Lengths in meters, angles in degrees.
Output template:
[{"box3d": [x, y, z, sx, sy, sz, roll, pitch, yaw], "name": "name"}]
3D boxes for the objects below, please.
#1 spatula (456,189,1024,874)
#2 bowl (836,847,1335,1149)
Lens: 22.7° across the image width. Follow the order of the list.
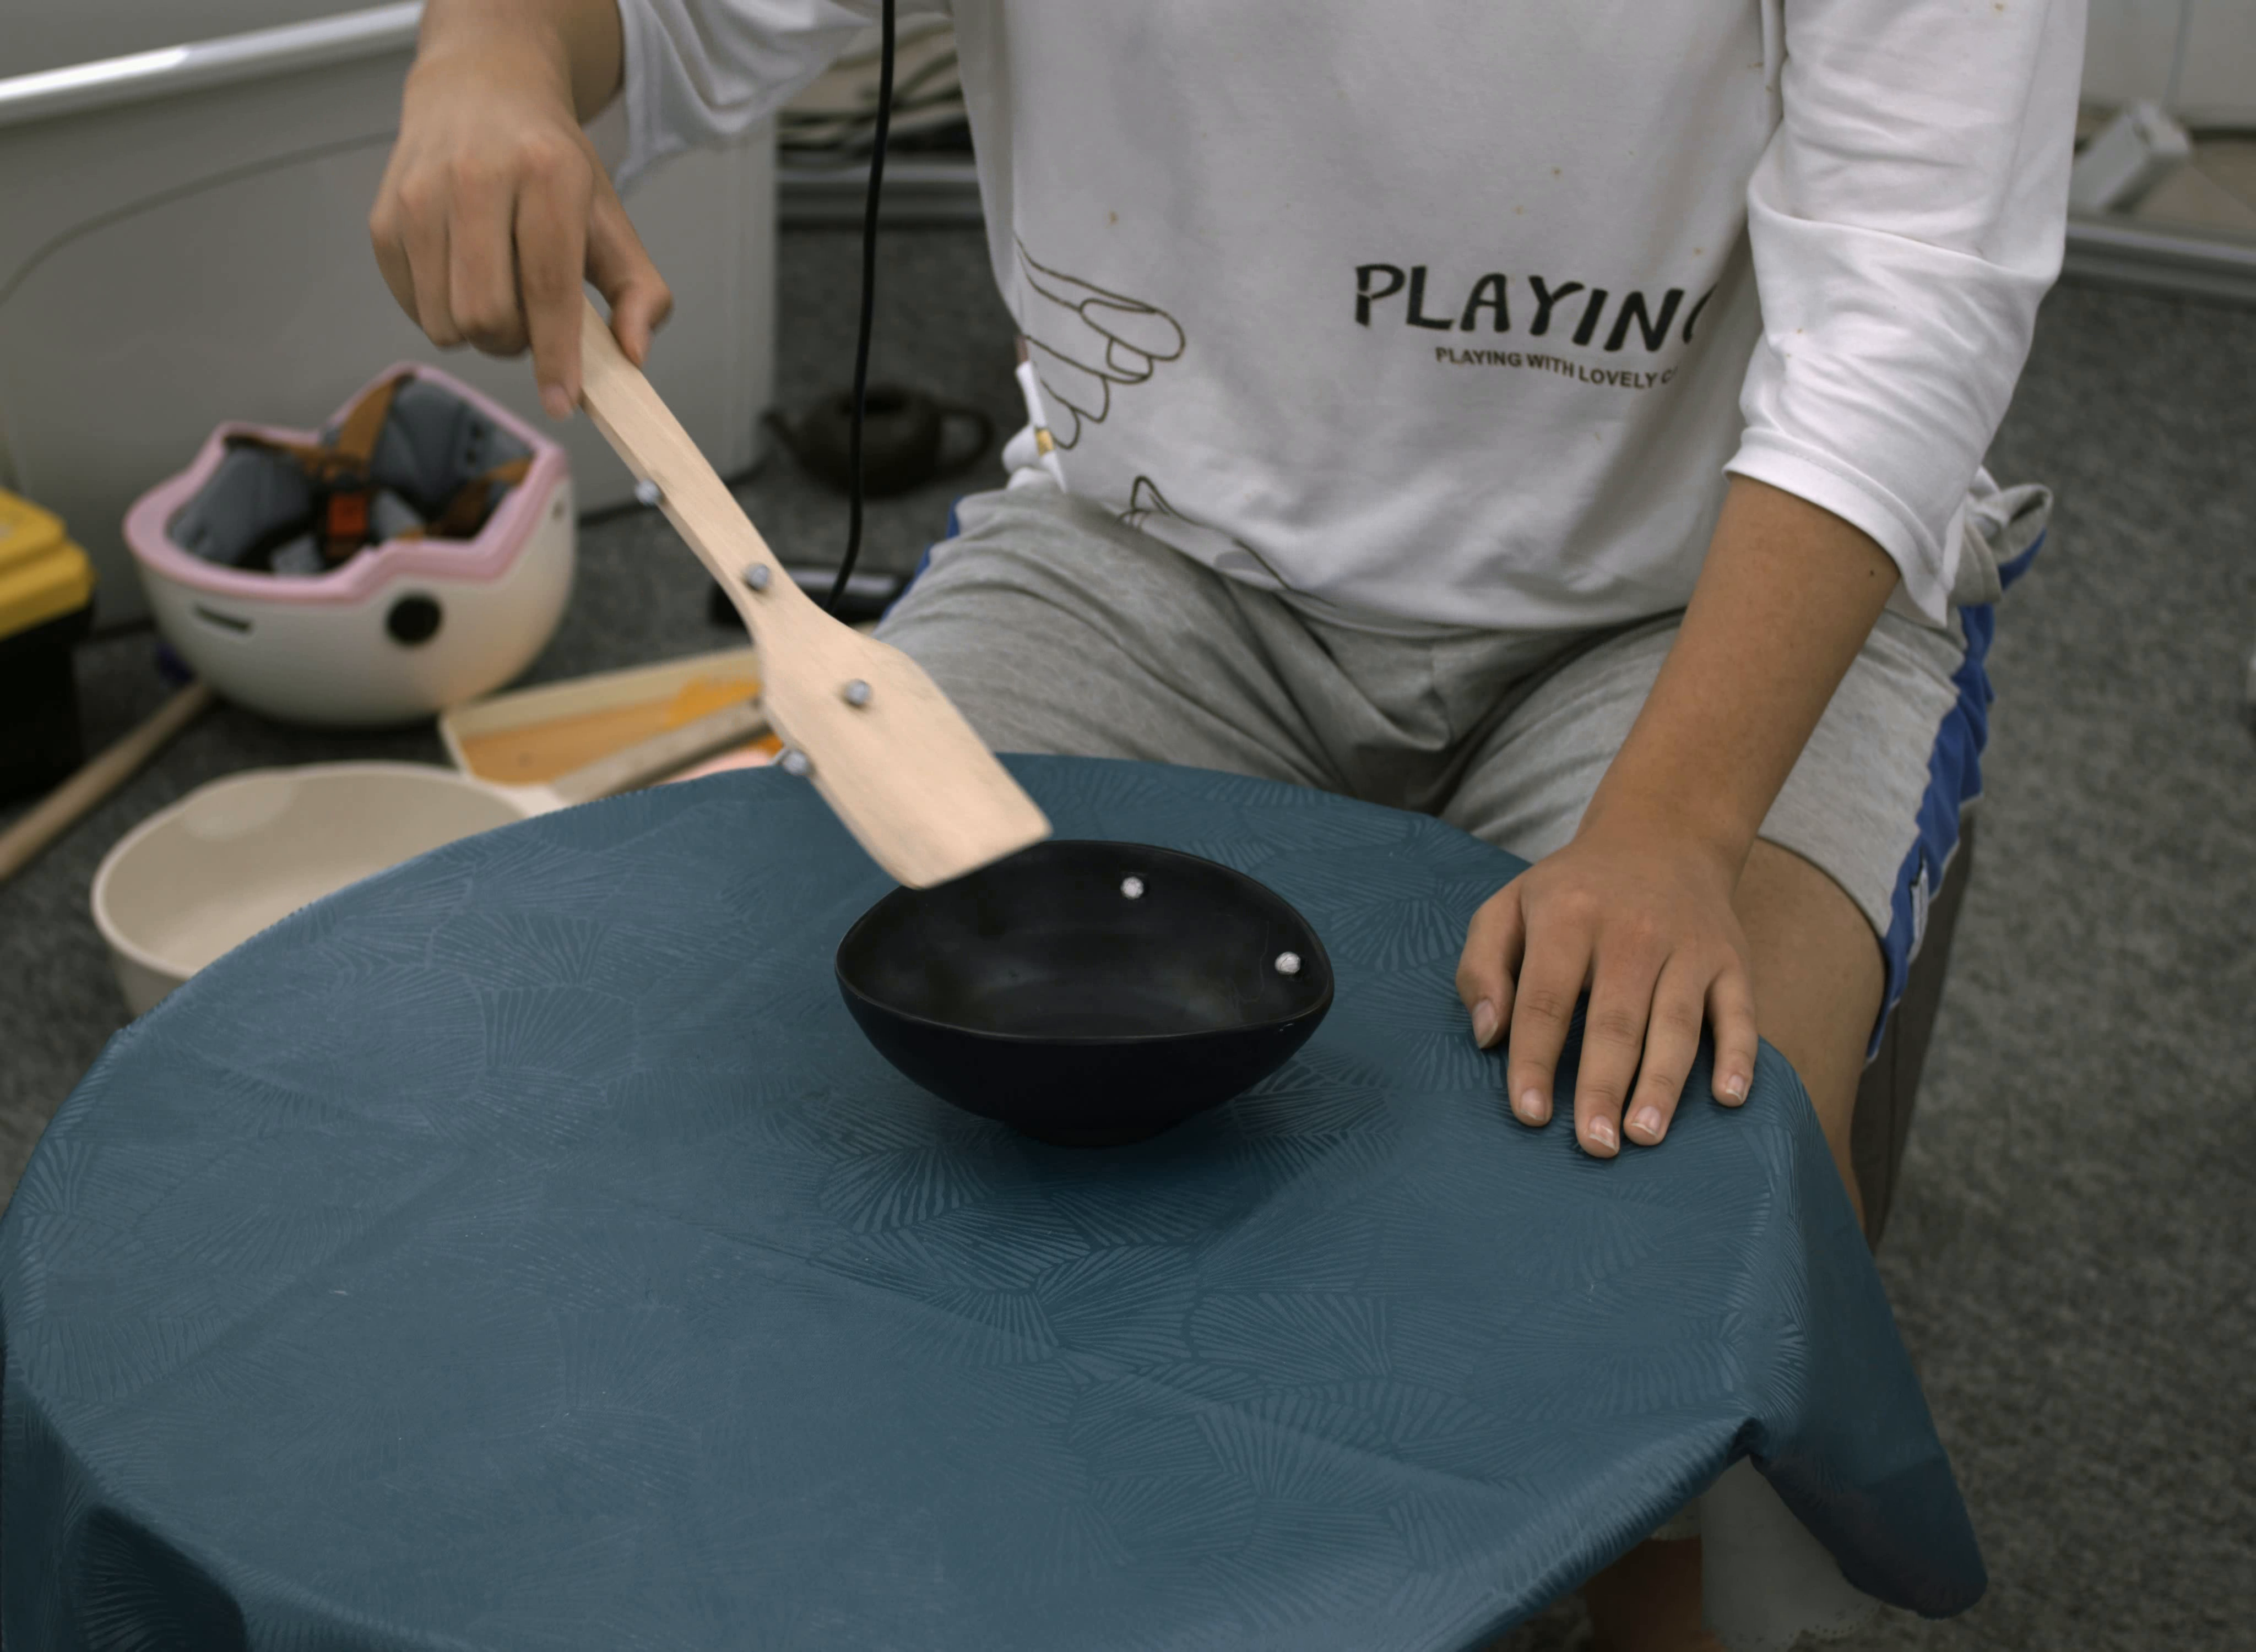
[{"box3d": [-0.142, -0.104, 1.911, 0.073, 0.010, 0.295, -21, 69, -45], "name": "spatula"}, {"box3d": [-0.014, 0.065, 1.907, 0.169, 0.066, 0.139, 2, 27, 6], "name": "bowl"}]
